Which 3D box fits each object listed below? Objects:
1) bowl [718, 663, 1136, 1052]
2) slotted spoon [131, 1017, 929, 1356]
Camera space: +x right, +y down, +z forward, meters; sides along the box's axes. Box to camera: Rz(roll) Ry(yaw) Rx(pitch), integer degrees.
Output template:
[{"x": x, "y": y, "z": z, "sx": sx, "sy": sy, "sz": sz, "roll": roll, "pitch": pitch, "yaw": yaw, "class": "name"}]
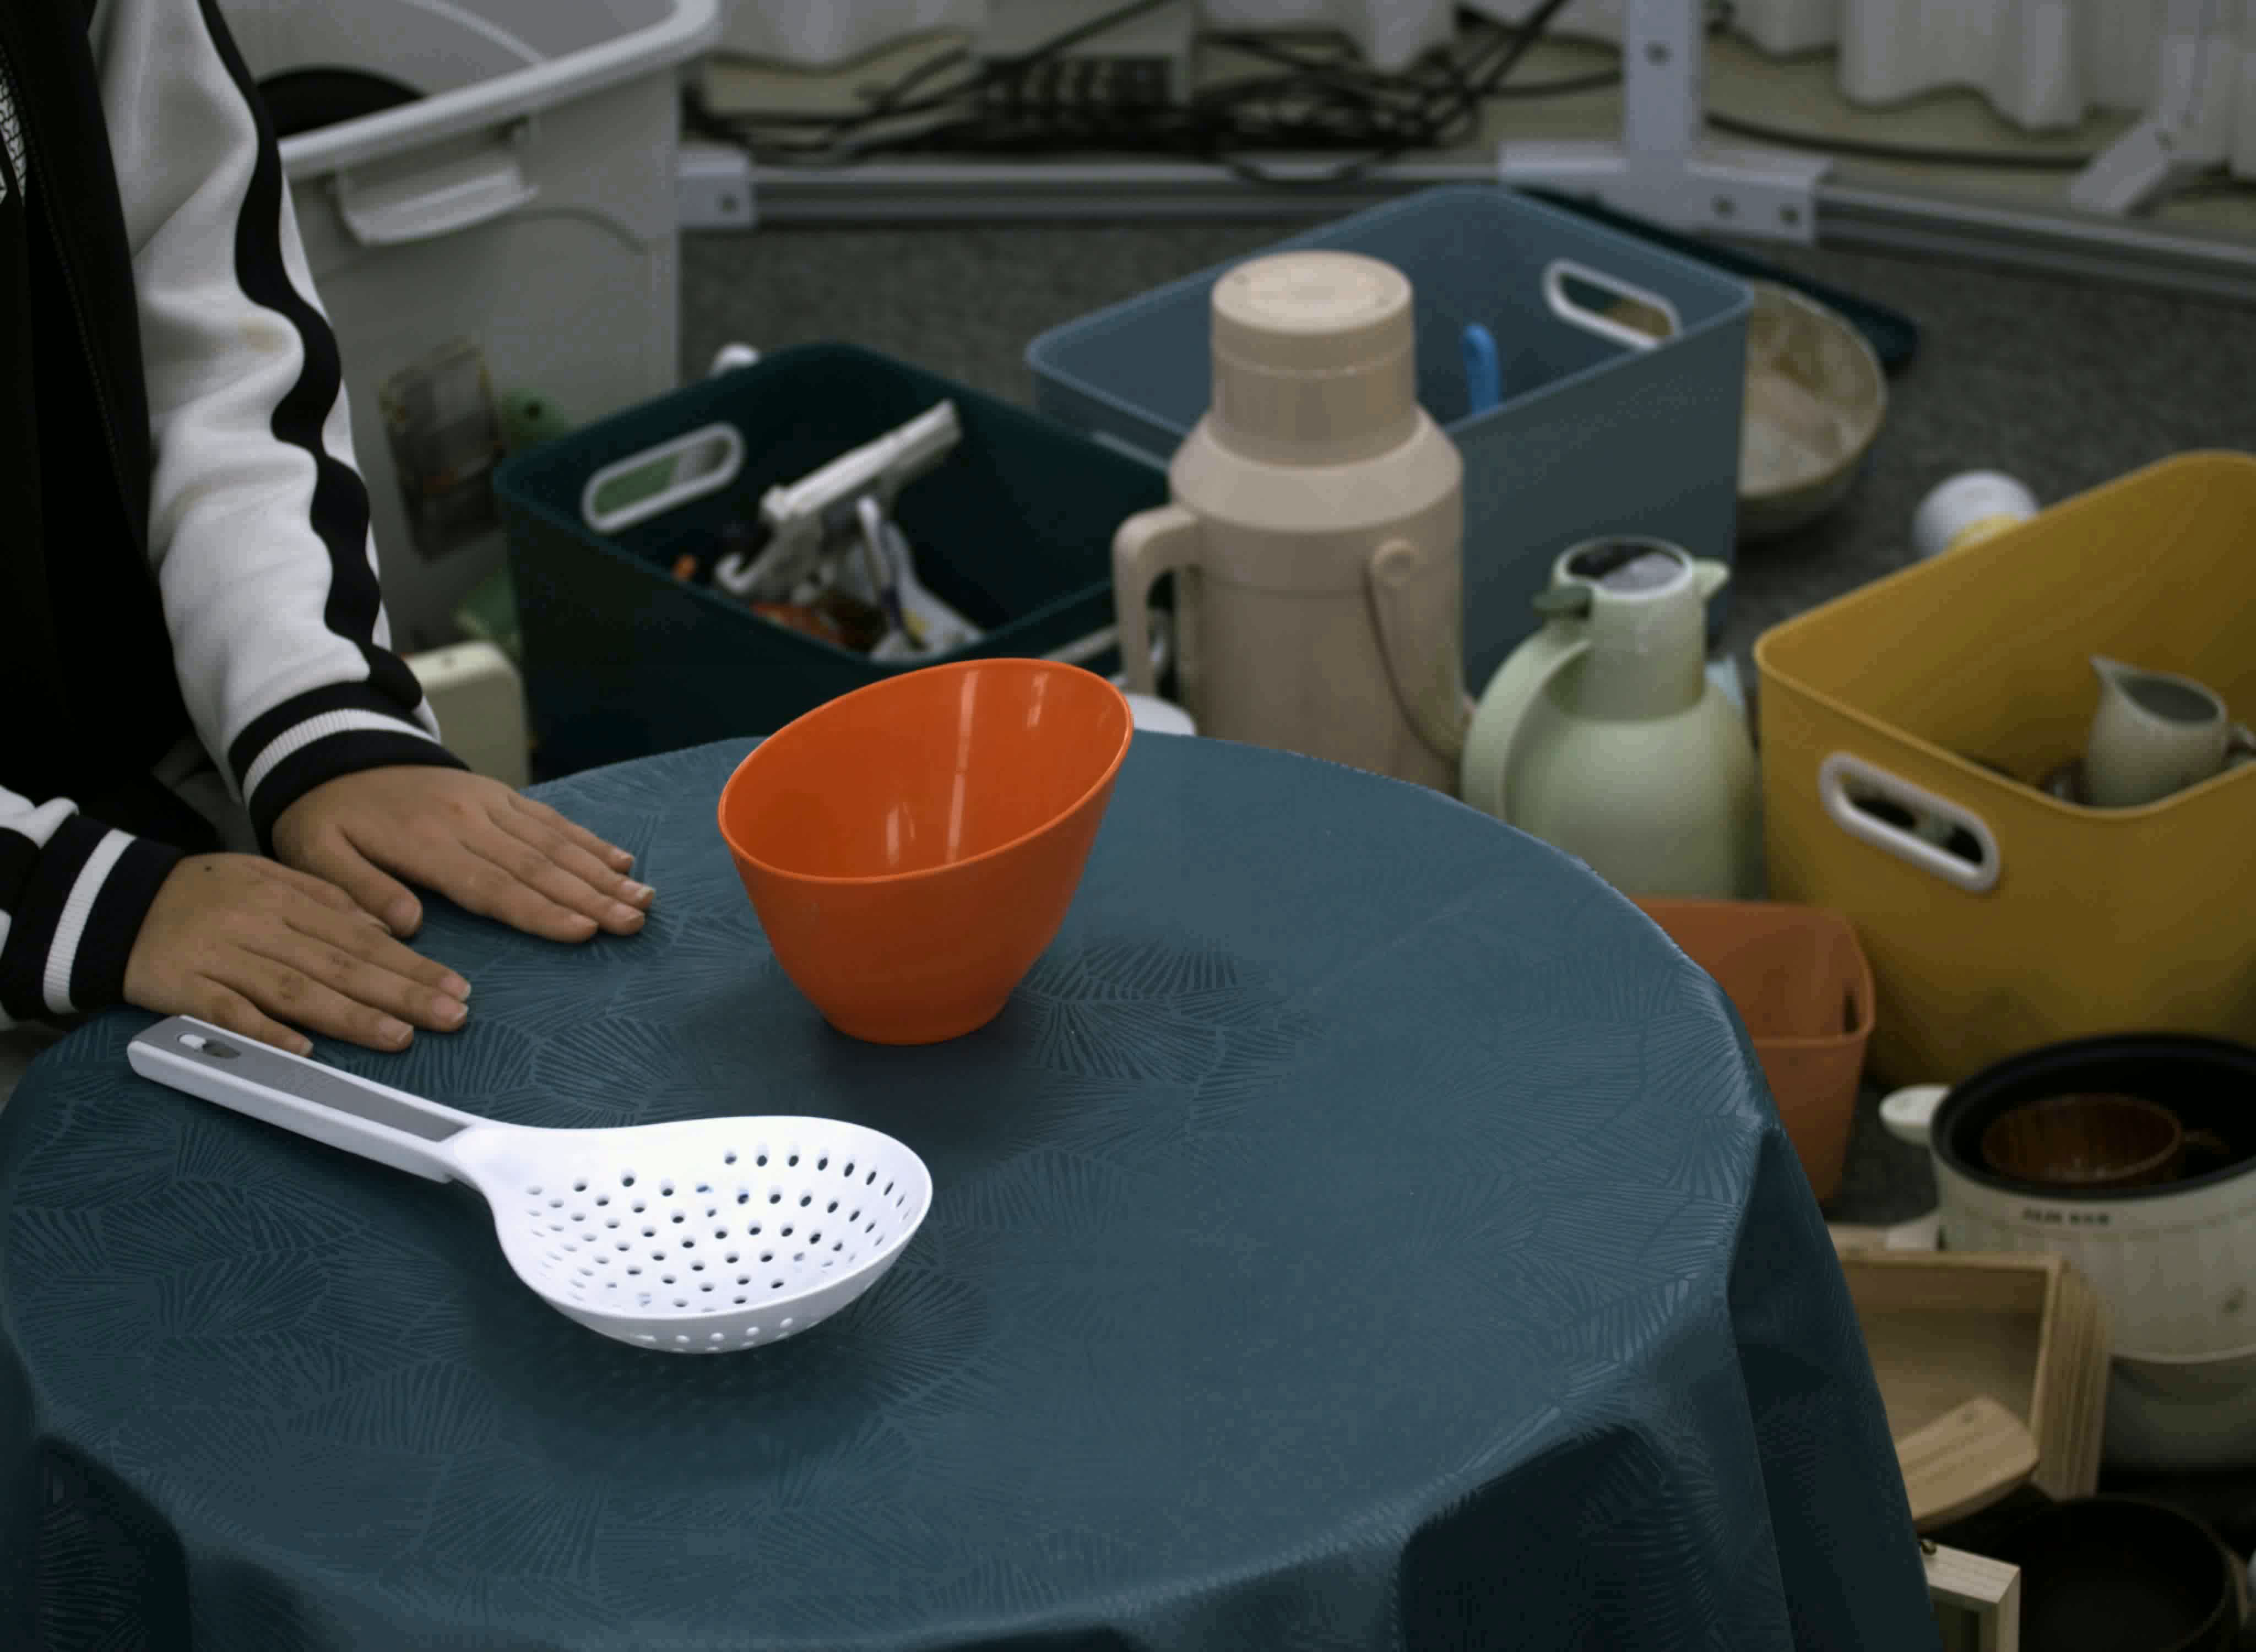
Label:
[{"x": -0.067, "y": 0.017, "z": 1.963, "sx": 0.147, "sy": 0.103, "sz": 0.150, "roll": -3, "pitch": 28, "yaw": 2, "class": "bowl"}, {"x": -0.210, "y": 0.111, "z": 1.855, "sx": 0.348, "sy": 0.045, "sz": 0.138, "roll": 19, "pitch": 33, "yaw": 37, "class": "slotted spoon"}]
